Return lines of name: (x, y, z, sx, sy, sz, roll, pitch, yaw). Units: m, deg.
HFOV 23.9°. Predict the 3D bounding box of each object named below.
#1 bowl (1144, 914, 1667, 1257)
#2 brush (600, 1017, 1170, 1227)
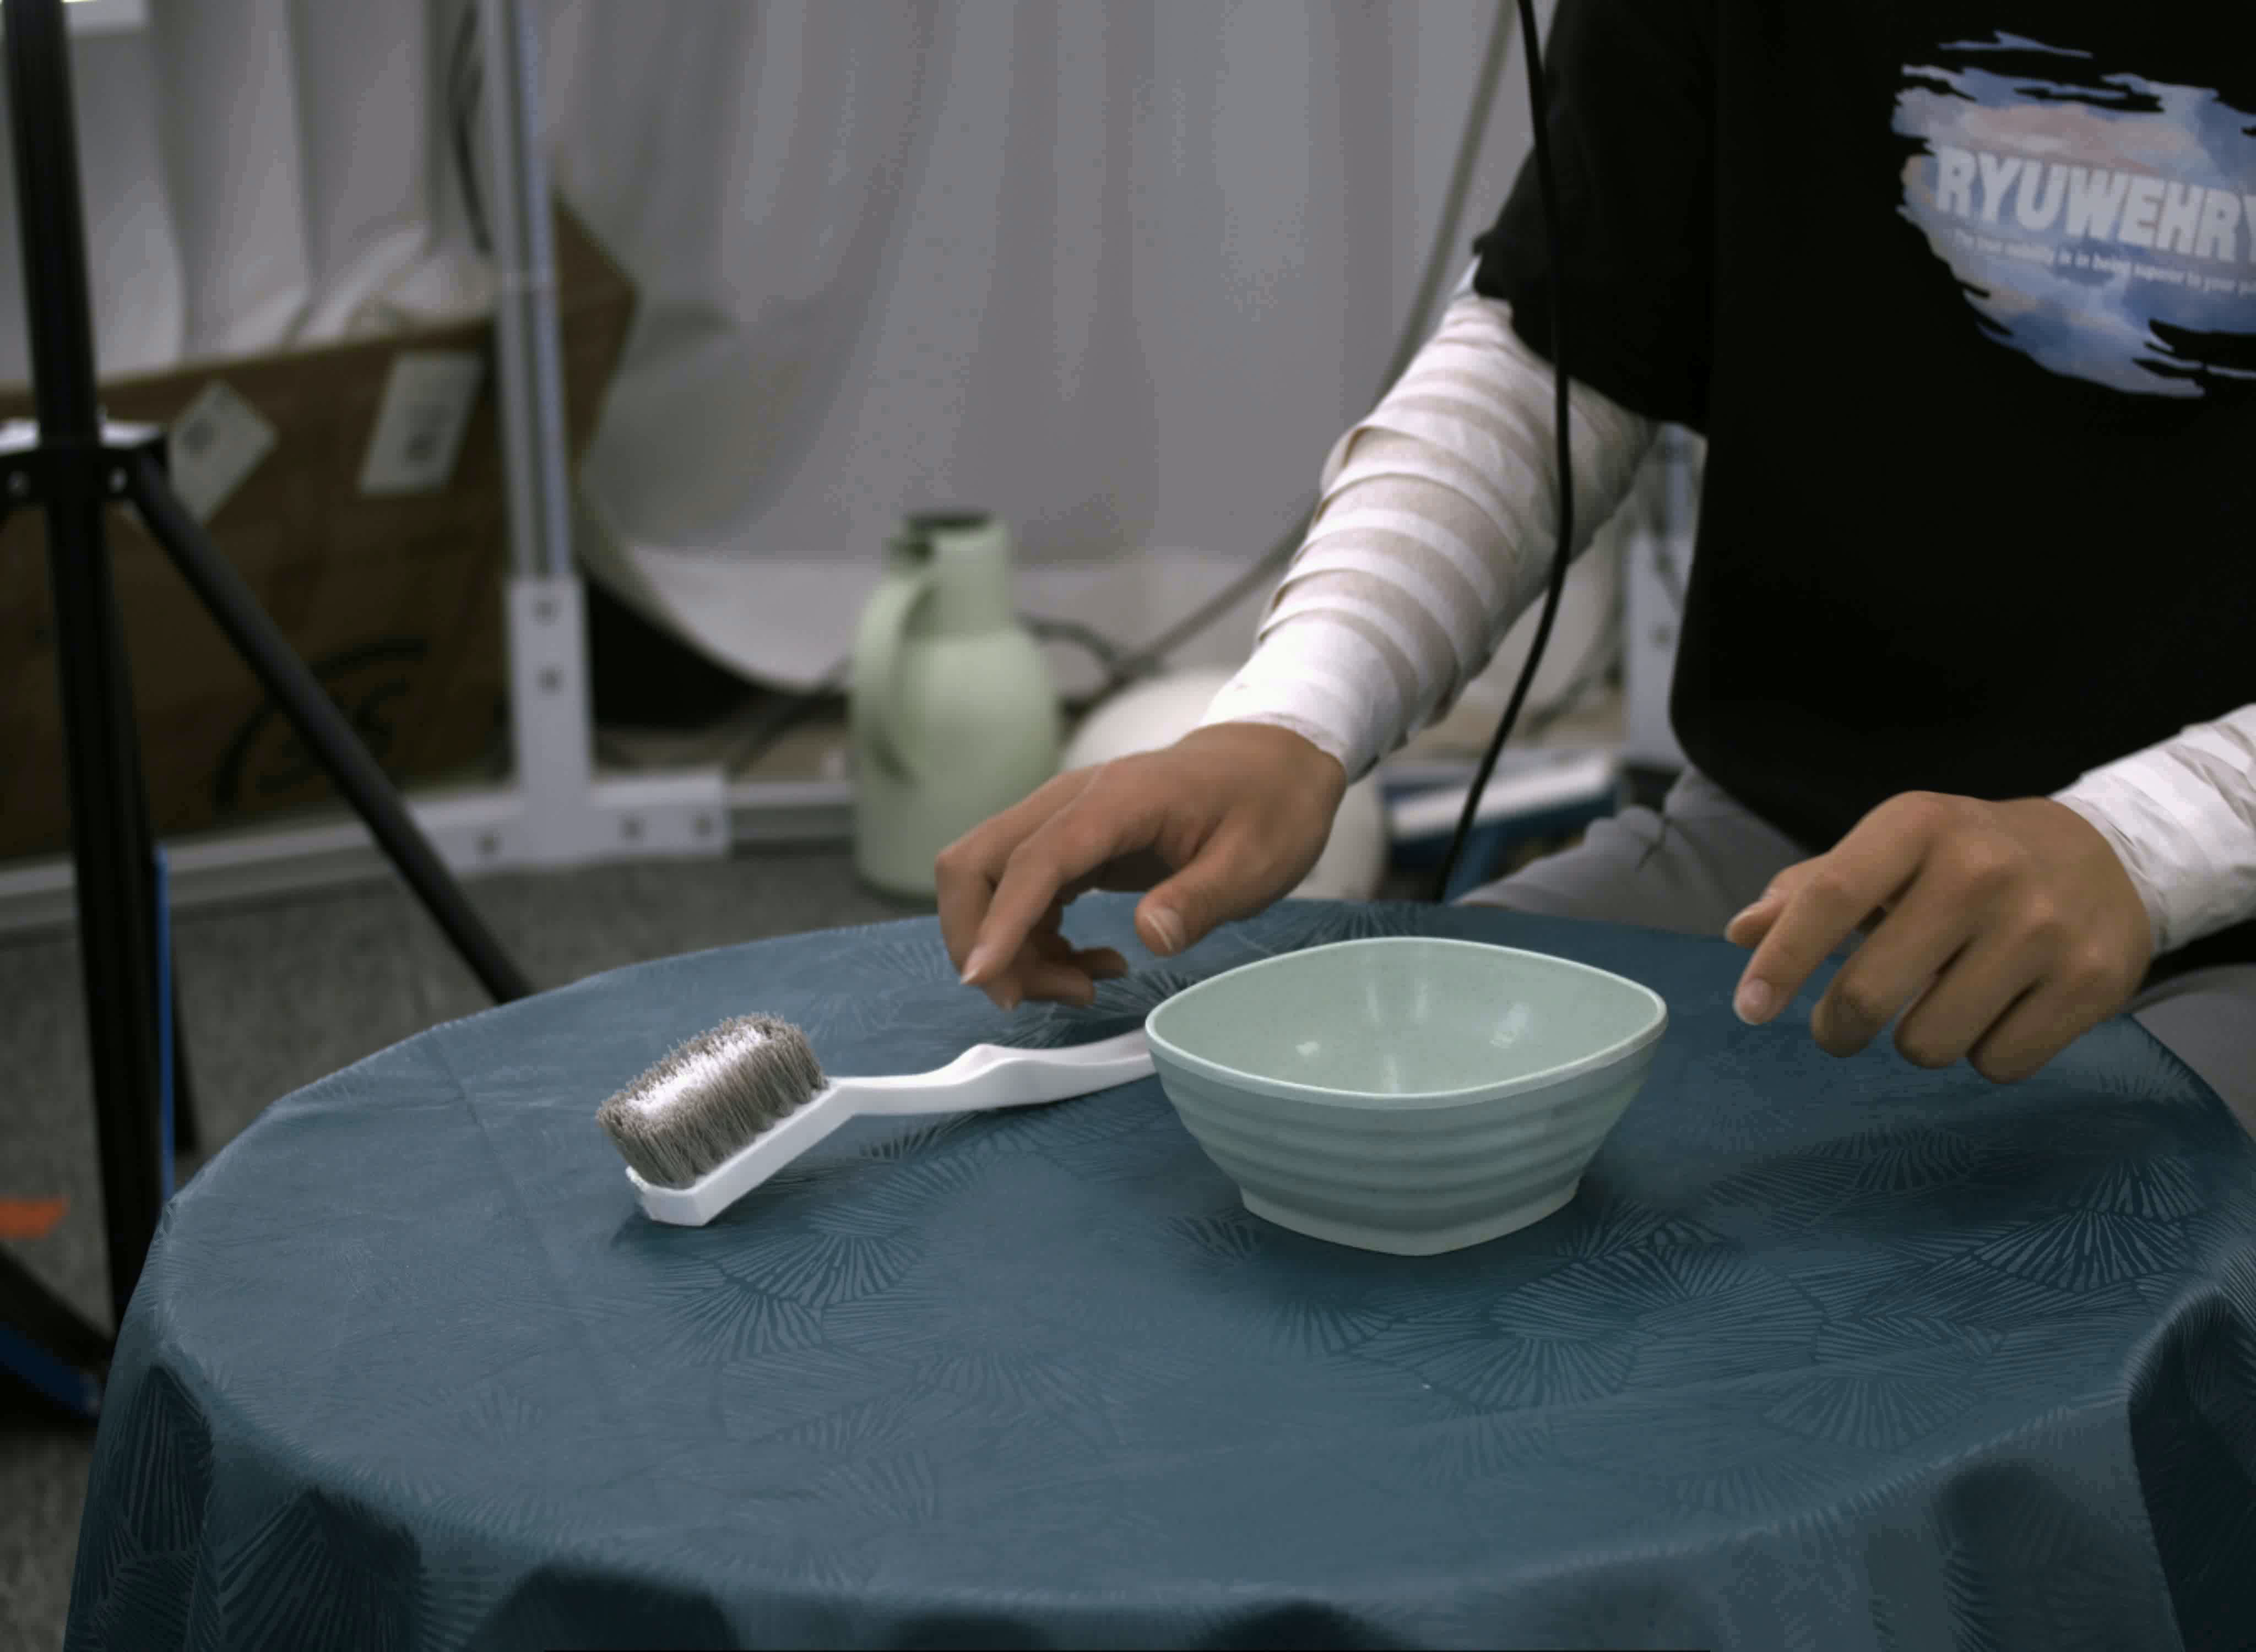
bowl: (0.081, 0.079, 1.537, 0.150, 0.058, 0.152, -2, 19, -1)
brush: (-0.056, 0.068, 1.615, 0.238, 0.050, 0.035, -16, 21, -37)
